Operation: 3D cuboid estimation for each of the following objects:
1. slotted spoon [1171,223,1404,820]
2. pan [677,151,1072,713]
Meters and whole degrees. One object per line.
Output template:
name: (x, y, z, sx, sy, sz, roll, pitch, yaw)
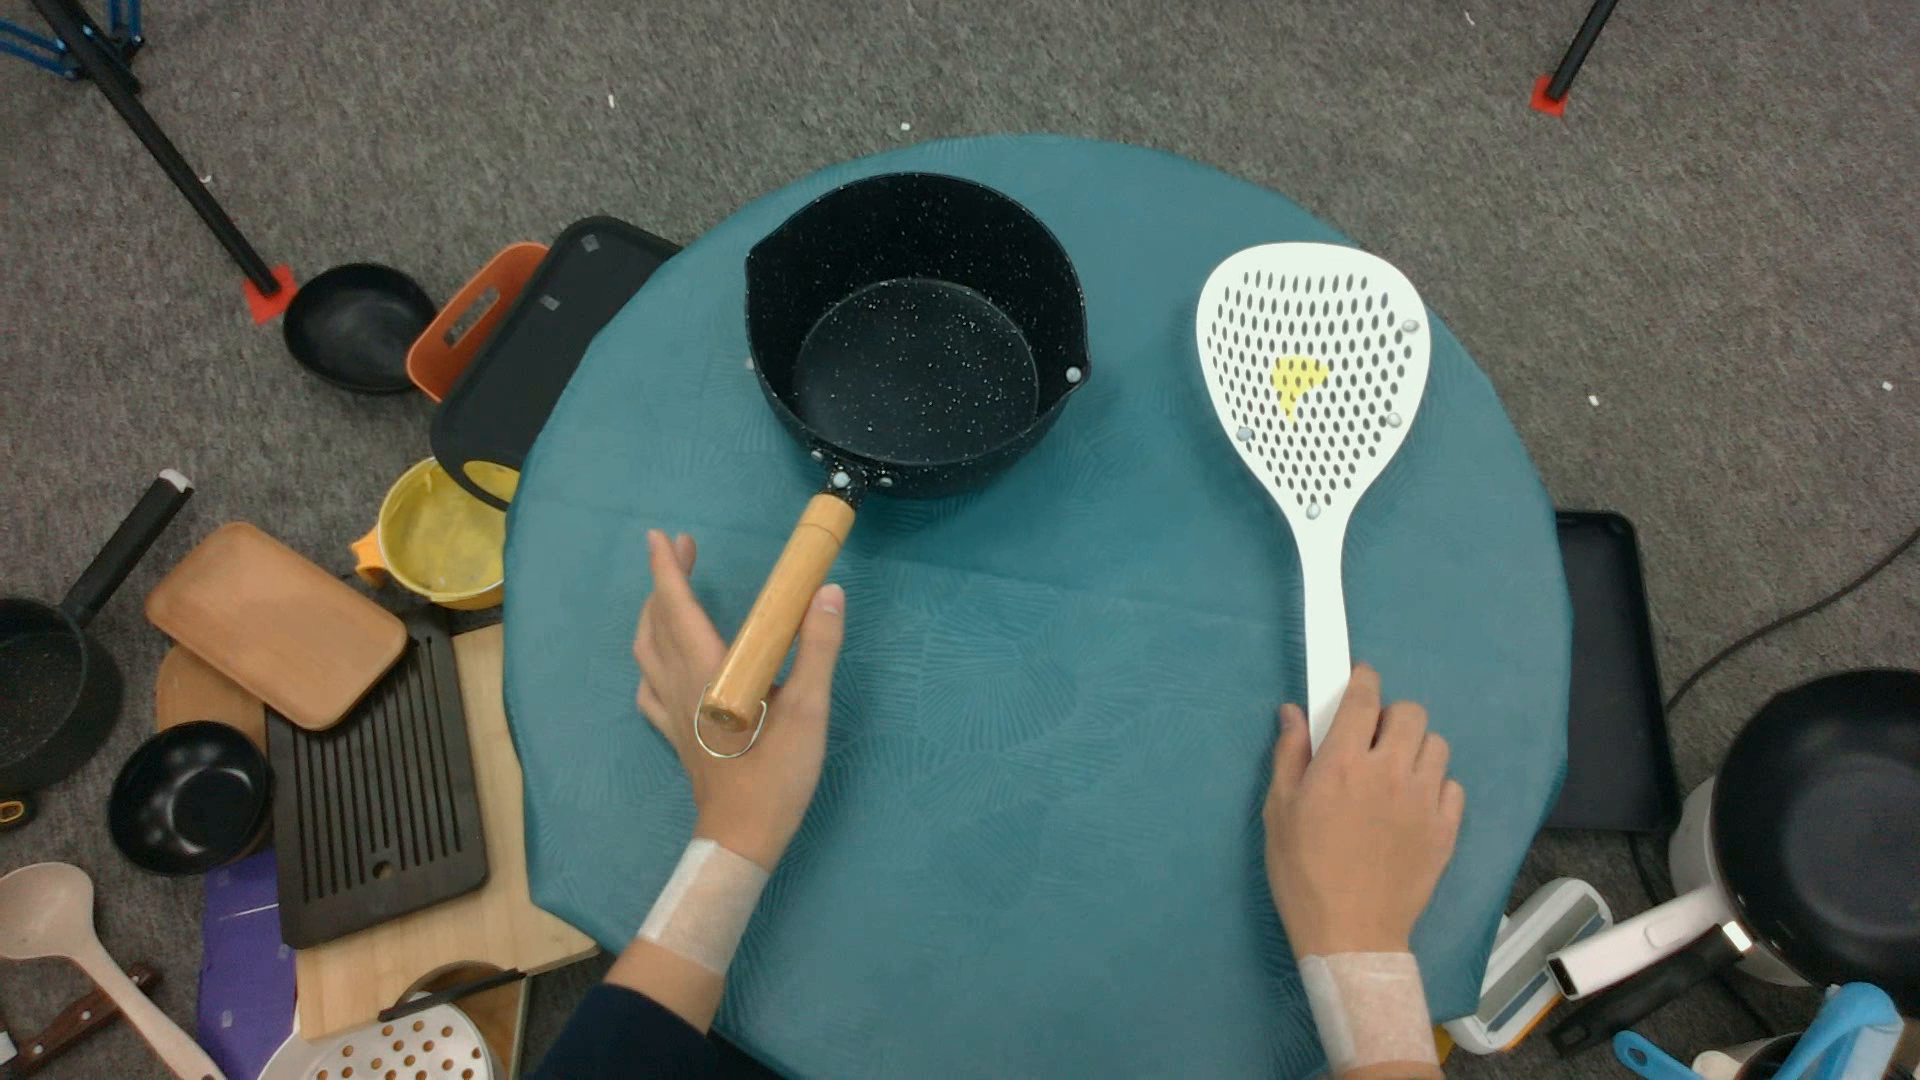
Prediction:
slotted spoon: (0.190, -0.021, 0.774, 0.137, 0.050, 0.349, 1, 66, -2)
pan: (-0.062, -0.052, 0.739, 0.207, 0.108, 0.344, 19, 67, 4)
